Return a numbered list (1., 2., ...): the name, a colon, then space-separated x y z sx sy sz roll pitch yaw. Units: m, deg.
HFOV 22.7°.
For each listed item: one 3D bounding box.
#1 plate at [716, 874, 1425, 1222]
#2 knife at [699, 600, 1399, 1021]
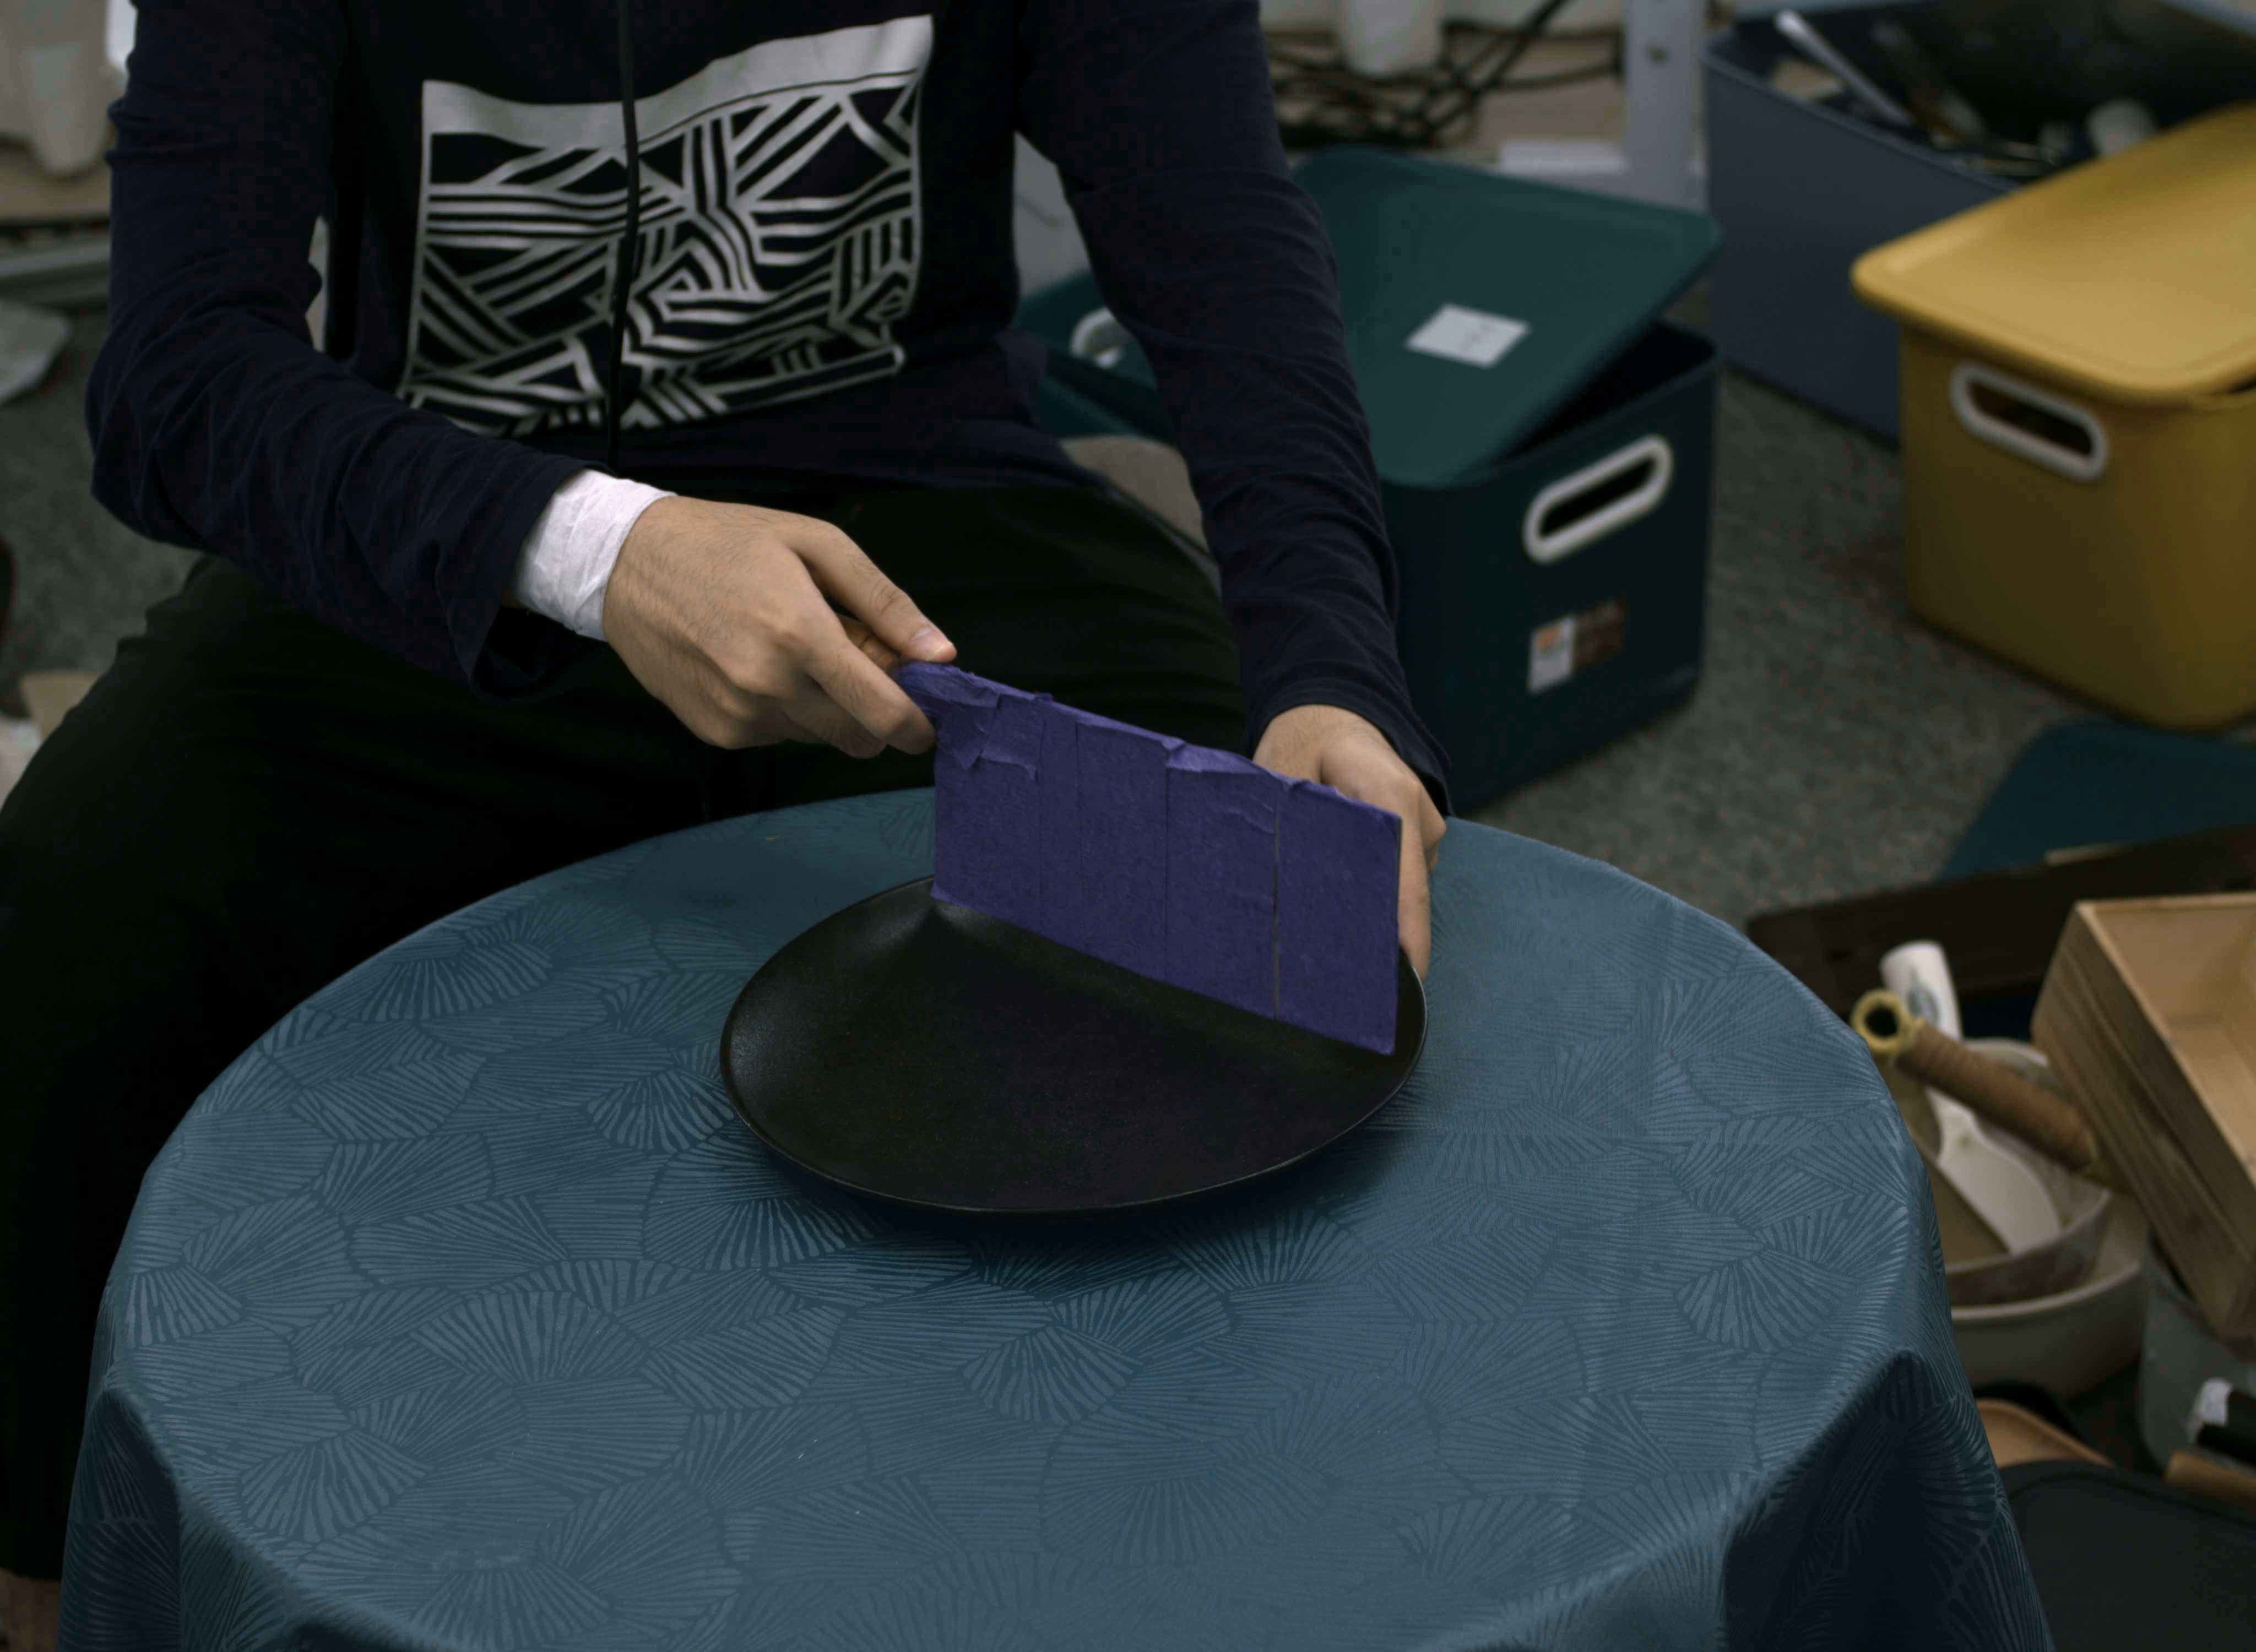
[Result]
1. plate: -0.019 0.076 1.924 0.243 0.023 0.248 -3 28 2
2. knife: -0.031 -0.004 1.958 0.314 0.103 0.032 18 24 39
